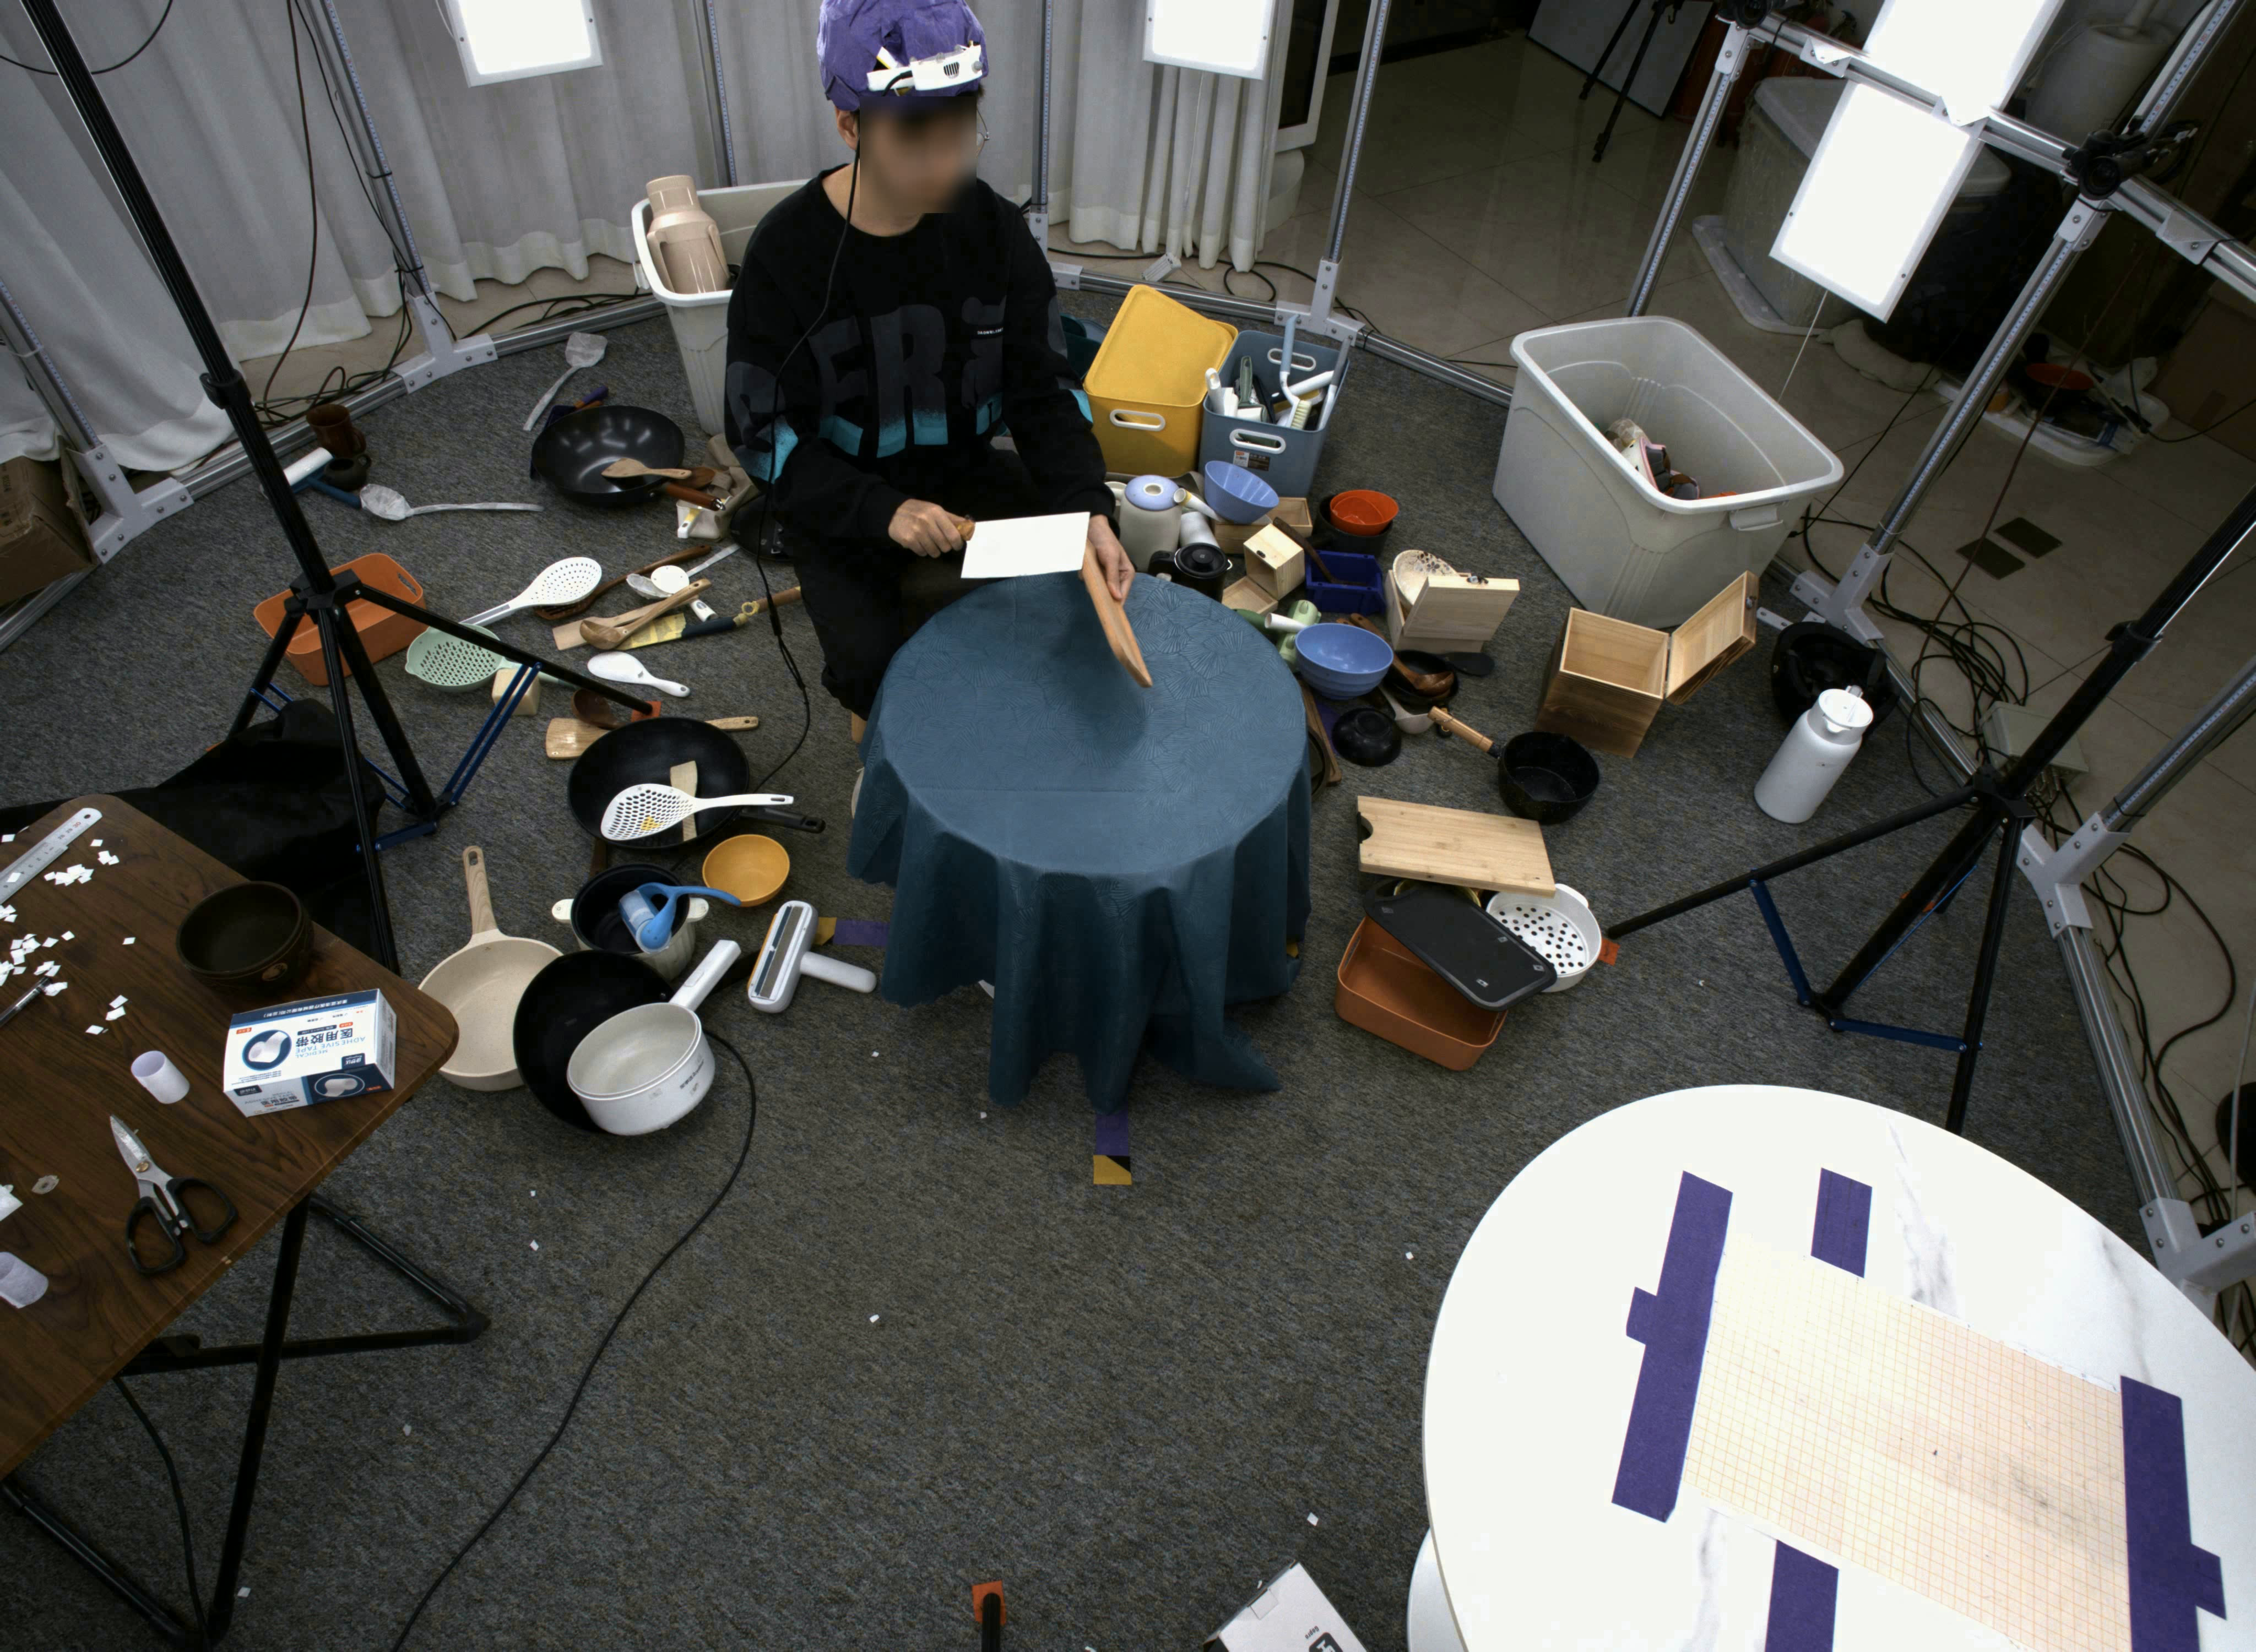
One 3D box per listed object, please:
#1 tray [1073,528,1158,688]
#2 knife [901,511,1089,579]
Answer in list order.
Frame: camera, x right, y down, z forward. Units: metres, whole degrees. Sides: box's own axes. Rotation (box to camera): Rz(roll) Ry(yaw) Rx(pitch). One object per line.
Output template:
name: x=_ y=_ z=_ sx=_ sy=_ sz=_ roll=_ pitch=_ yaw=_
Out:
tray: x=-0.022 y=-0.308 z=1.803 sx=0.023 sy=0.128 sz=0.256 roll=-28 pitch=57 yaw=10
knife: x=-0.194 y=-0.397 z=1.839 sx=0.306 sy=0.020 sz=0.094 roll=1 pitch=73 yaw=24
